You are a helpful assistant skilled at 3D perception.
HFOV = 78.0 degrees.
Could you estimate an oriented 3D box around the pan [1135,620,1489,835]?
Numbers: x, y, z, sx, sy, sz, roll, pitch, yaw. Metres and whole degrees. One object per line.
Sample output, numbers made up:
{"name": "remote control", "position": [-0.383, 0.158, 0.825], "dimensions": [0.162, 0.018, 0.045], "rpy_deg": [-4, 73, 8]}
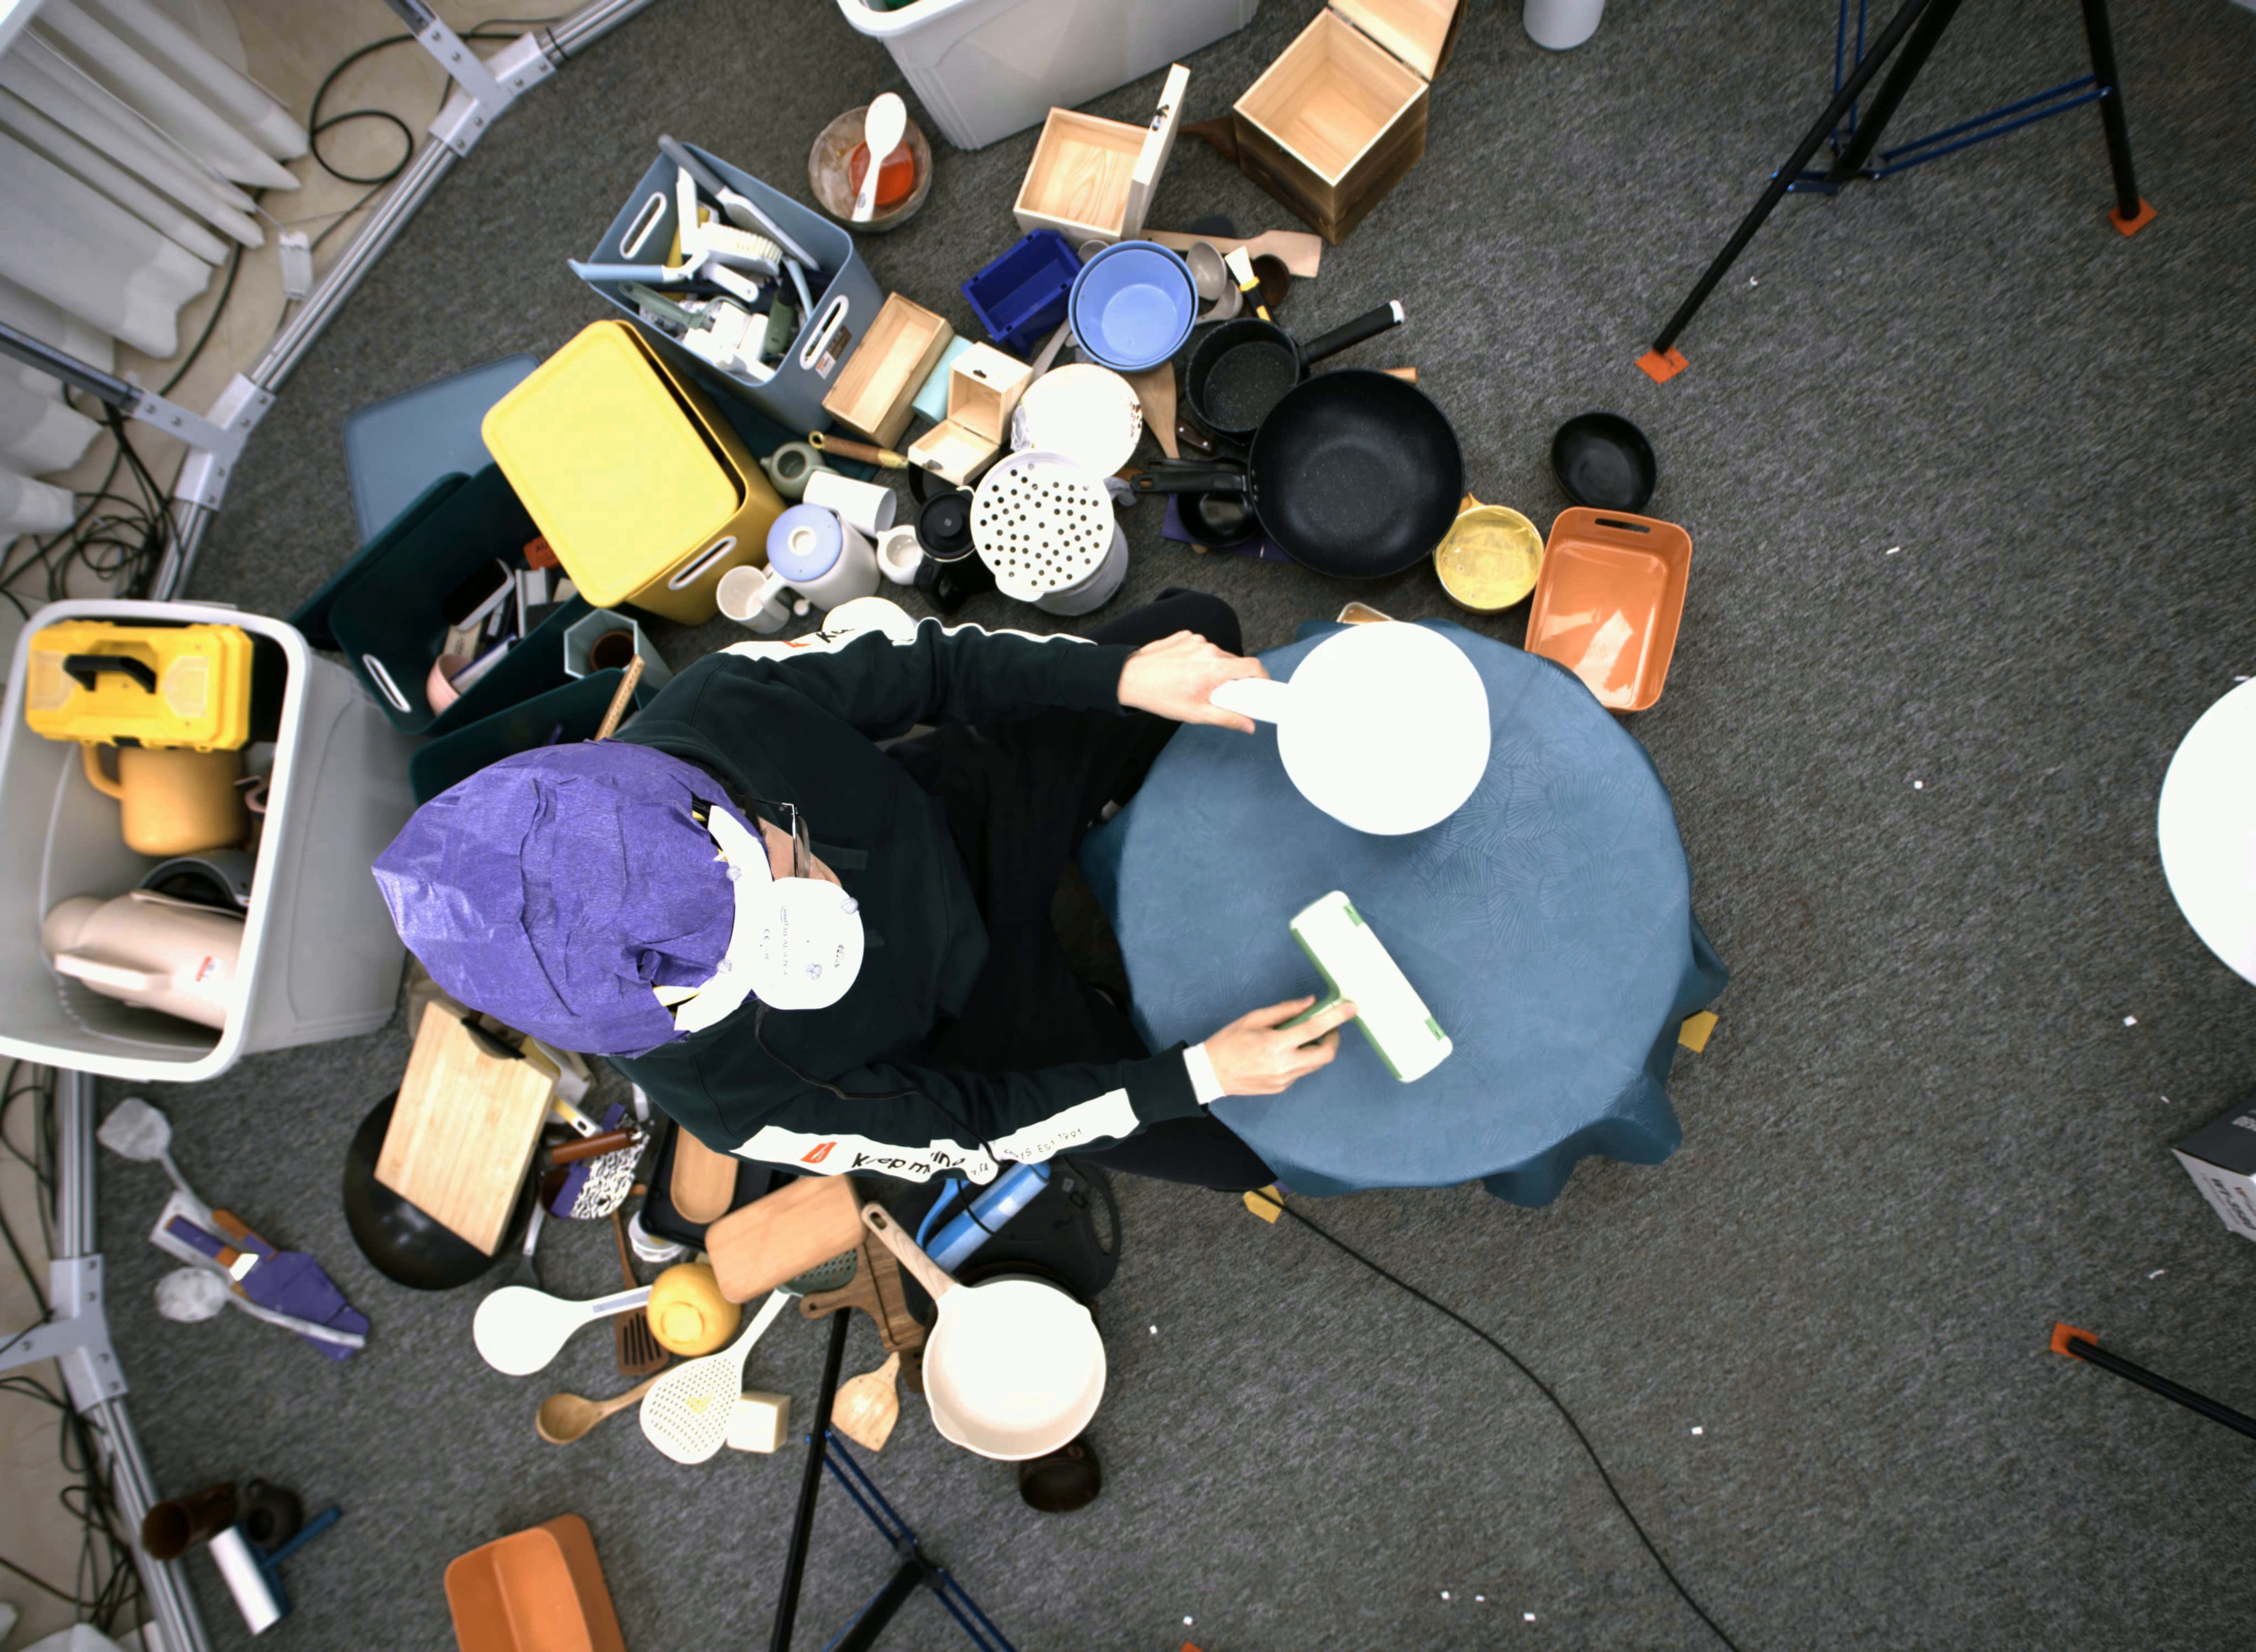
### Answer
{"name": "pan", "position": [0.184, -0.111, 1.376], "dimensions": [0.355, 0.102, 0.200], "rpy_deg": [15, 87, 23]}

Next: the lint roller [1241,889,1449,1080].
{"name": "lint roller", "position": [0.186, 0.189, 1.358], "dimensions": [0.184, 0.082, 0.198], "rpy_deg": [-37, 88, 7]}
